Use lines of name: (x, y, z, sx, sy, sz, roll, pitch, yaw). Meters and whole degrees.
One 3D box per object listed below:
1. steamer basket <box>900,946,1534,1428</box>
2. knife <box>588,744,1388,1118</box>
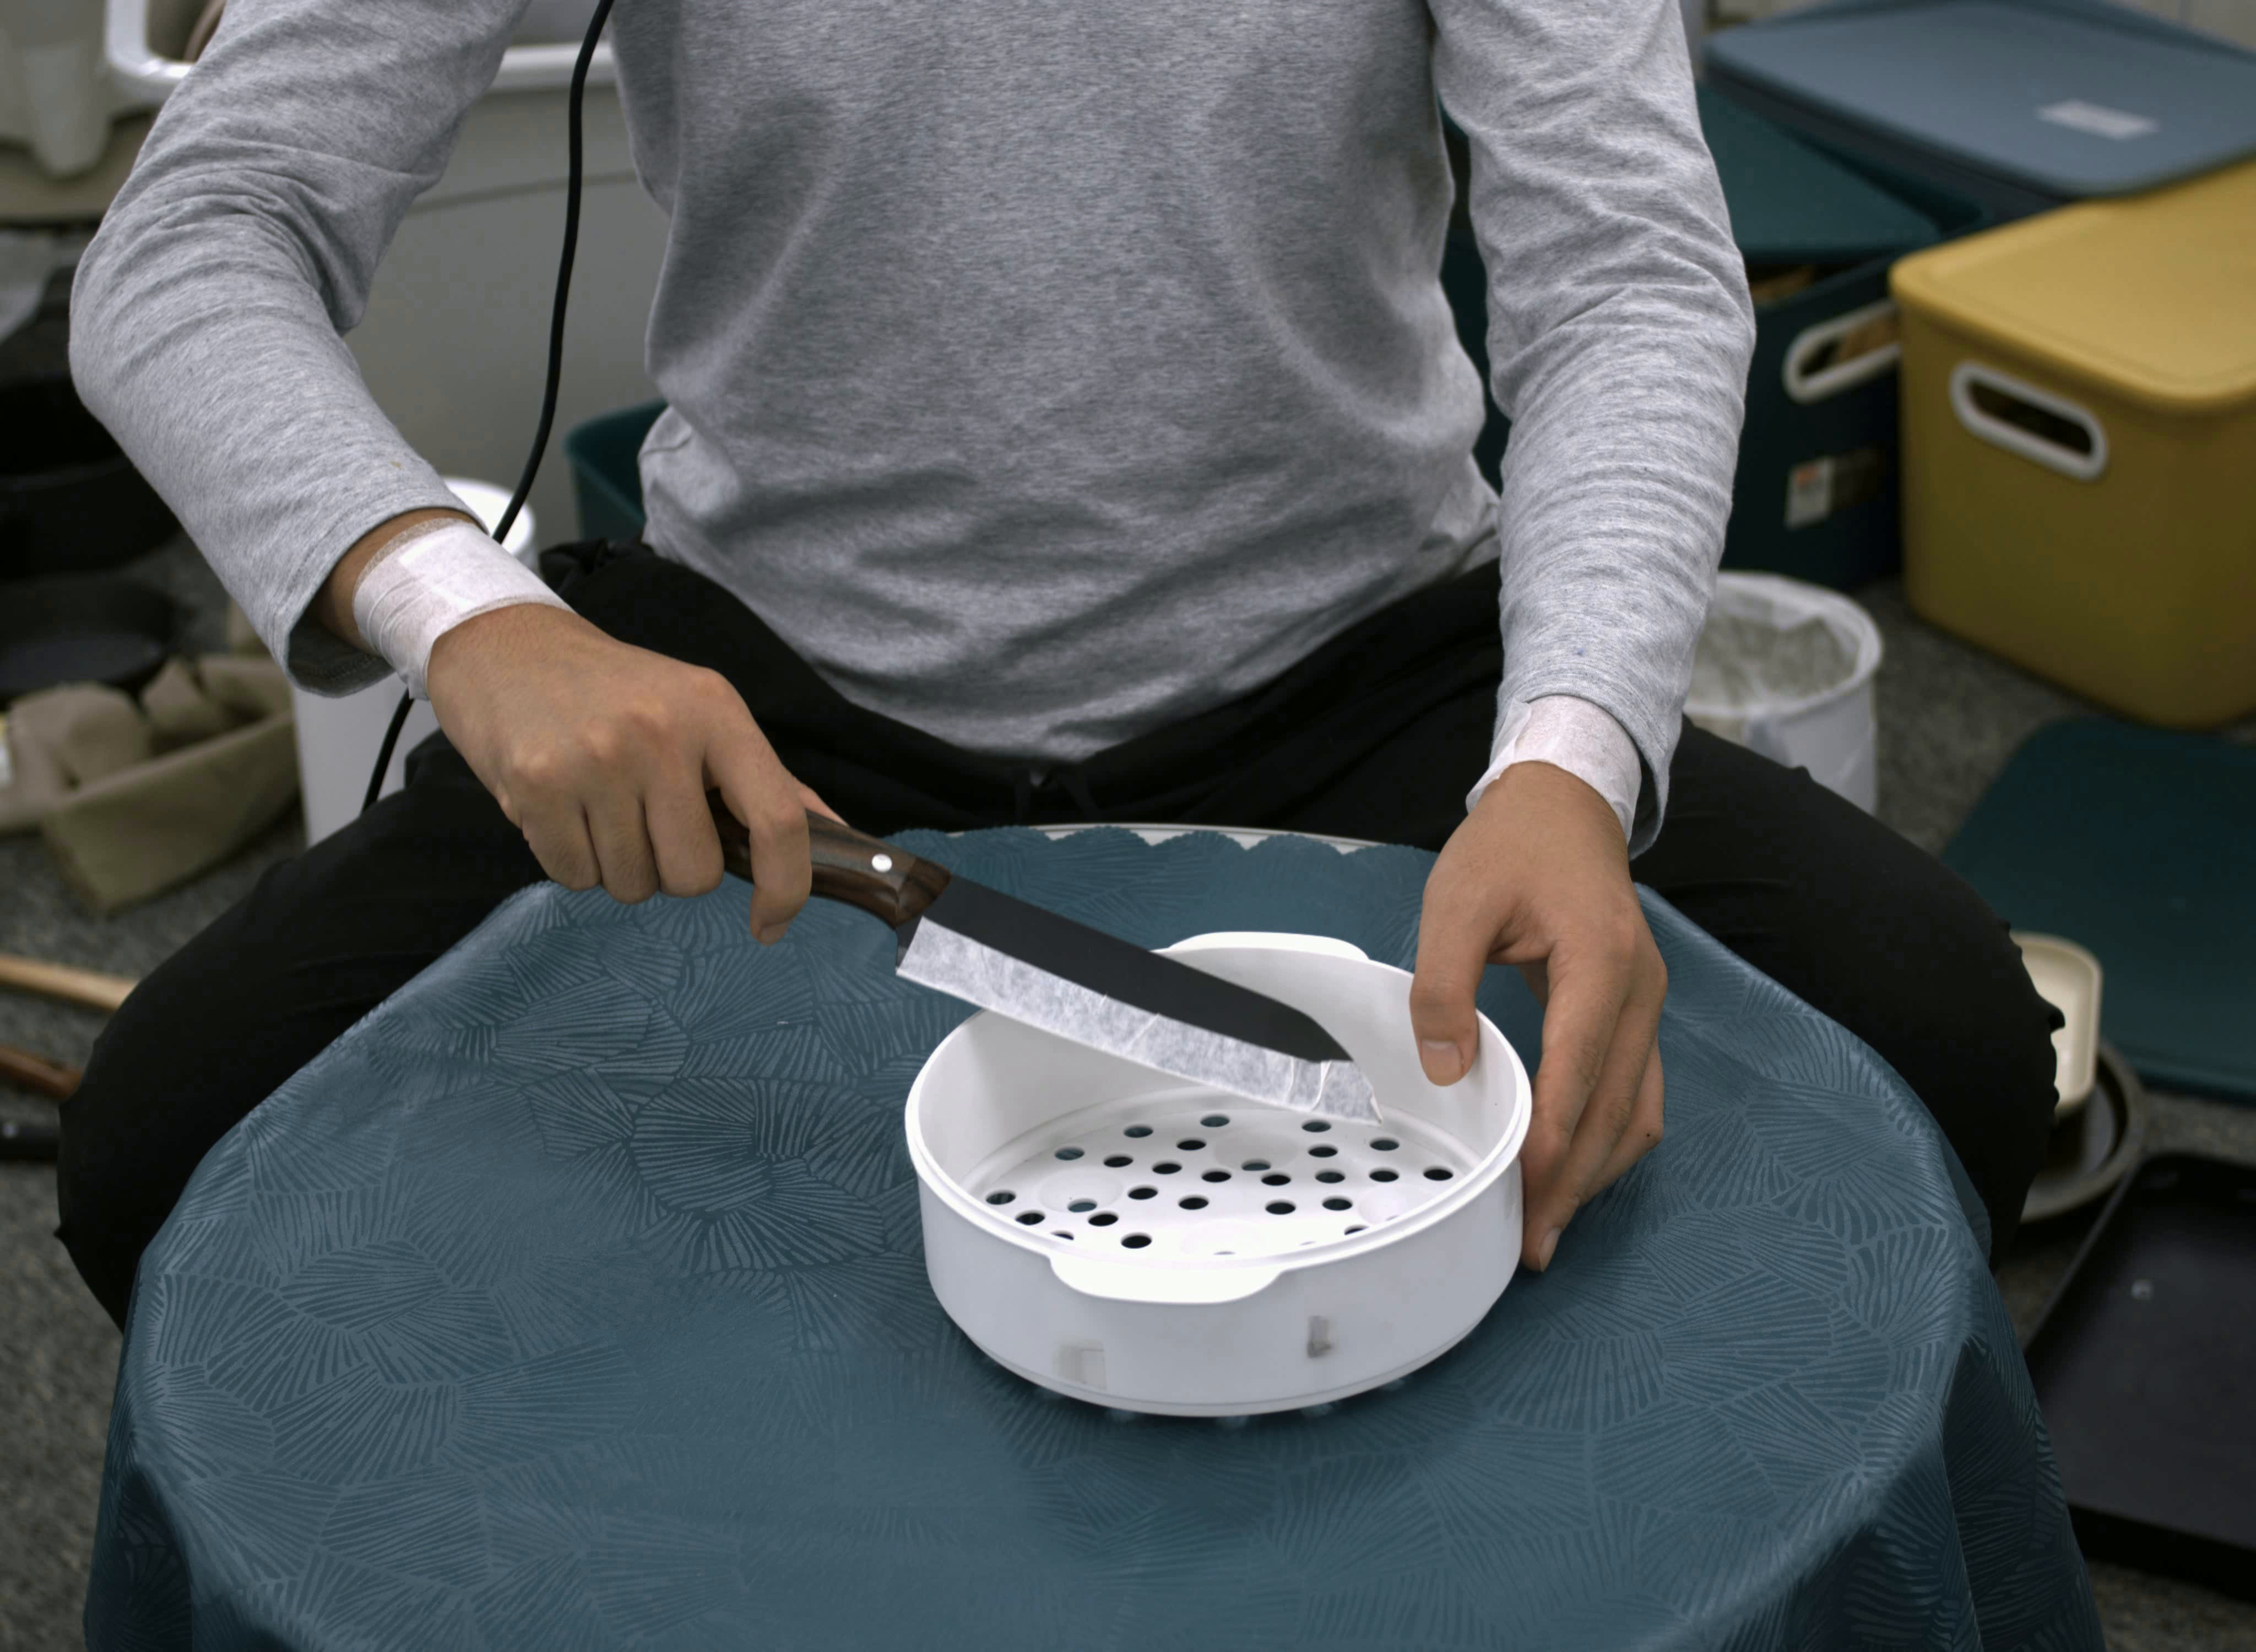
steamer basket: (0.029, 0.117, 1.796, 0.200, 0.068, 0.234, 3, 27, 11)
knife: (-0.047, 0.036, 1.840, 0.288, 0.019, 0.051, 23, 57, 3)
